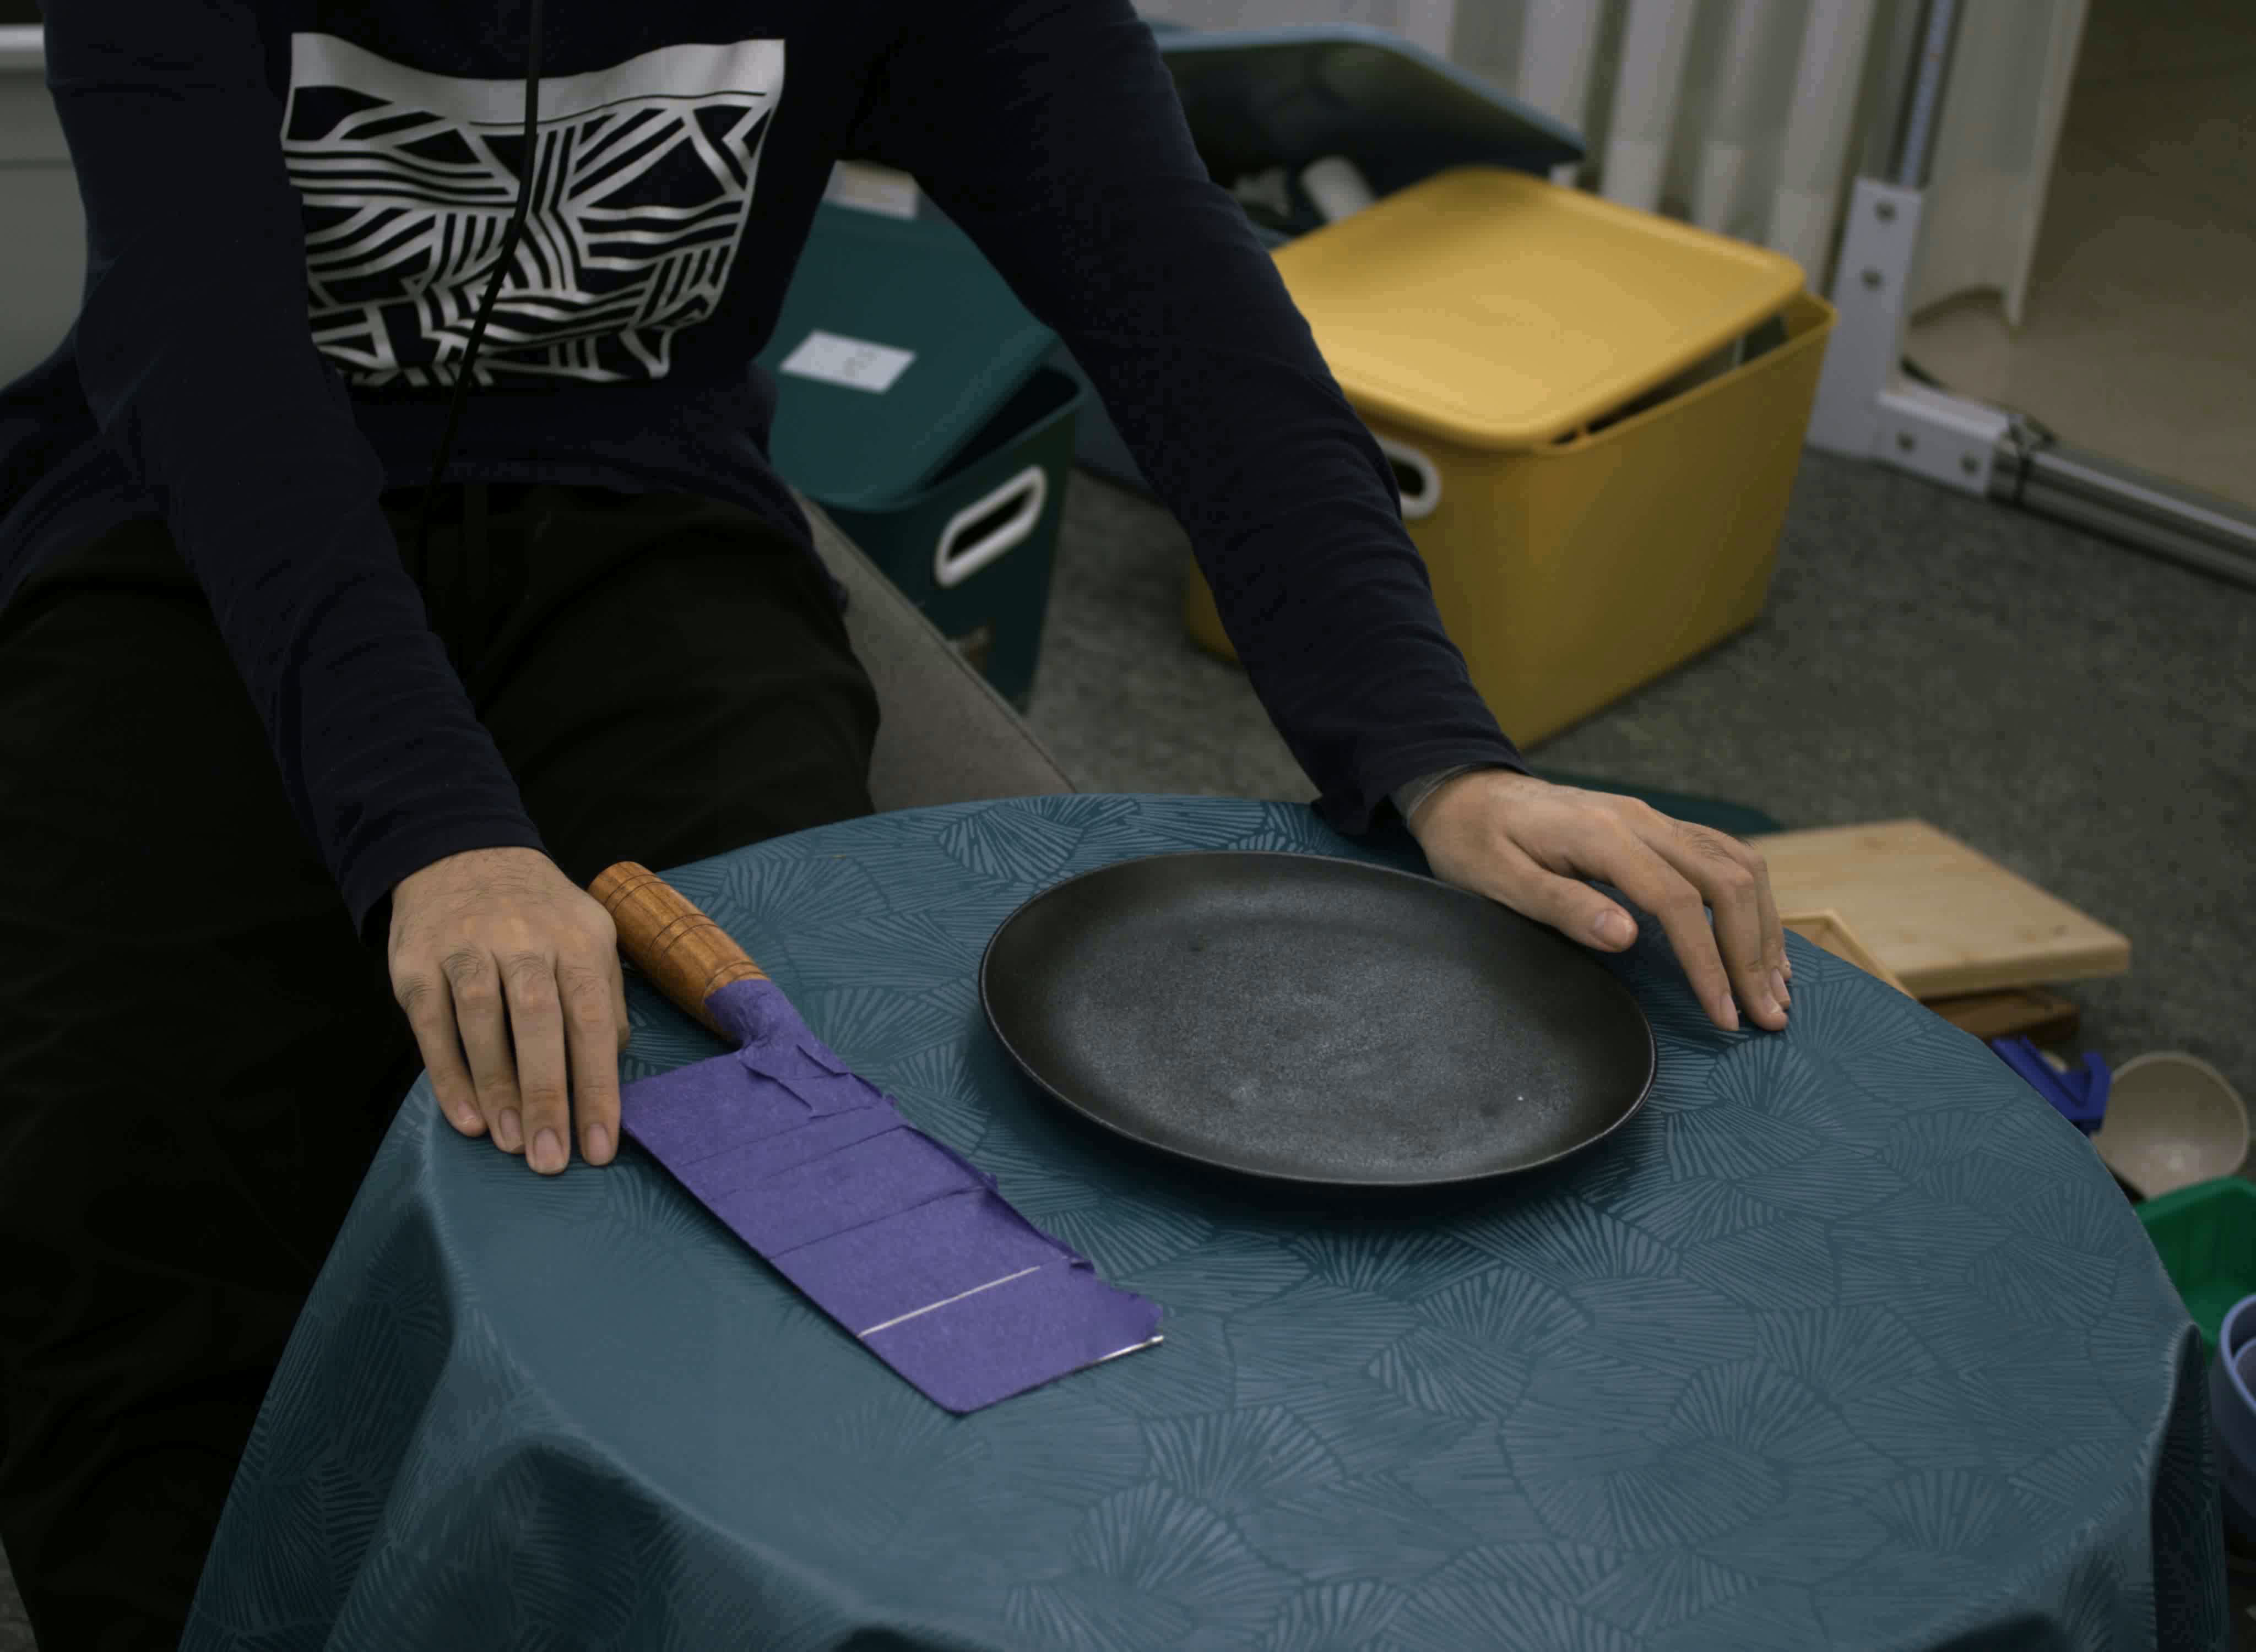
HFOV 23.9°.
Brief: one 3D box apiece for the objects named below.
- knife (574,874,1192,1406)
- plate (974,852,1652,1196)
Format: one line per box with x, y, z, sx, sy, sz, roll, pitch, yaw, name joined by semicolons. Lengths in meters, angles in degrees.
-0.113;0.101;1.795;0.103;0.032;0.318;-15;34;-37;knife
0.065;0.074;1.894;0.243;0.023;0.246;5;27;-3;plate
